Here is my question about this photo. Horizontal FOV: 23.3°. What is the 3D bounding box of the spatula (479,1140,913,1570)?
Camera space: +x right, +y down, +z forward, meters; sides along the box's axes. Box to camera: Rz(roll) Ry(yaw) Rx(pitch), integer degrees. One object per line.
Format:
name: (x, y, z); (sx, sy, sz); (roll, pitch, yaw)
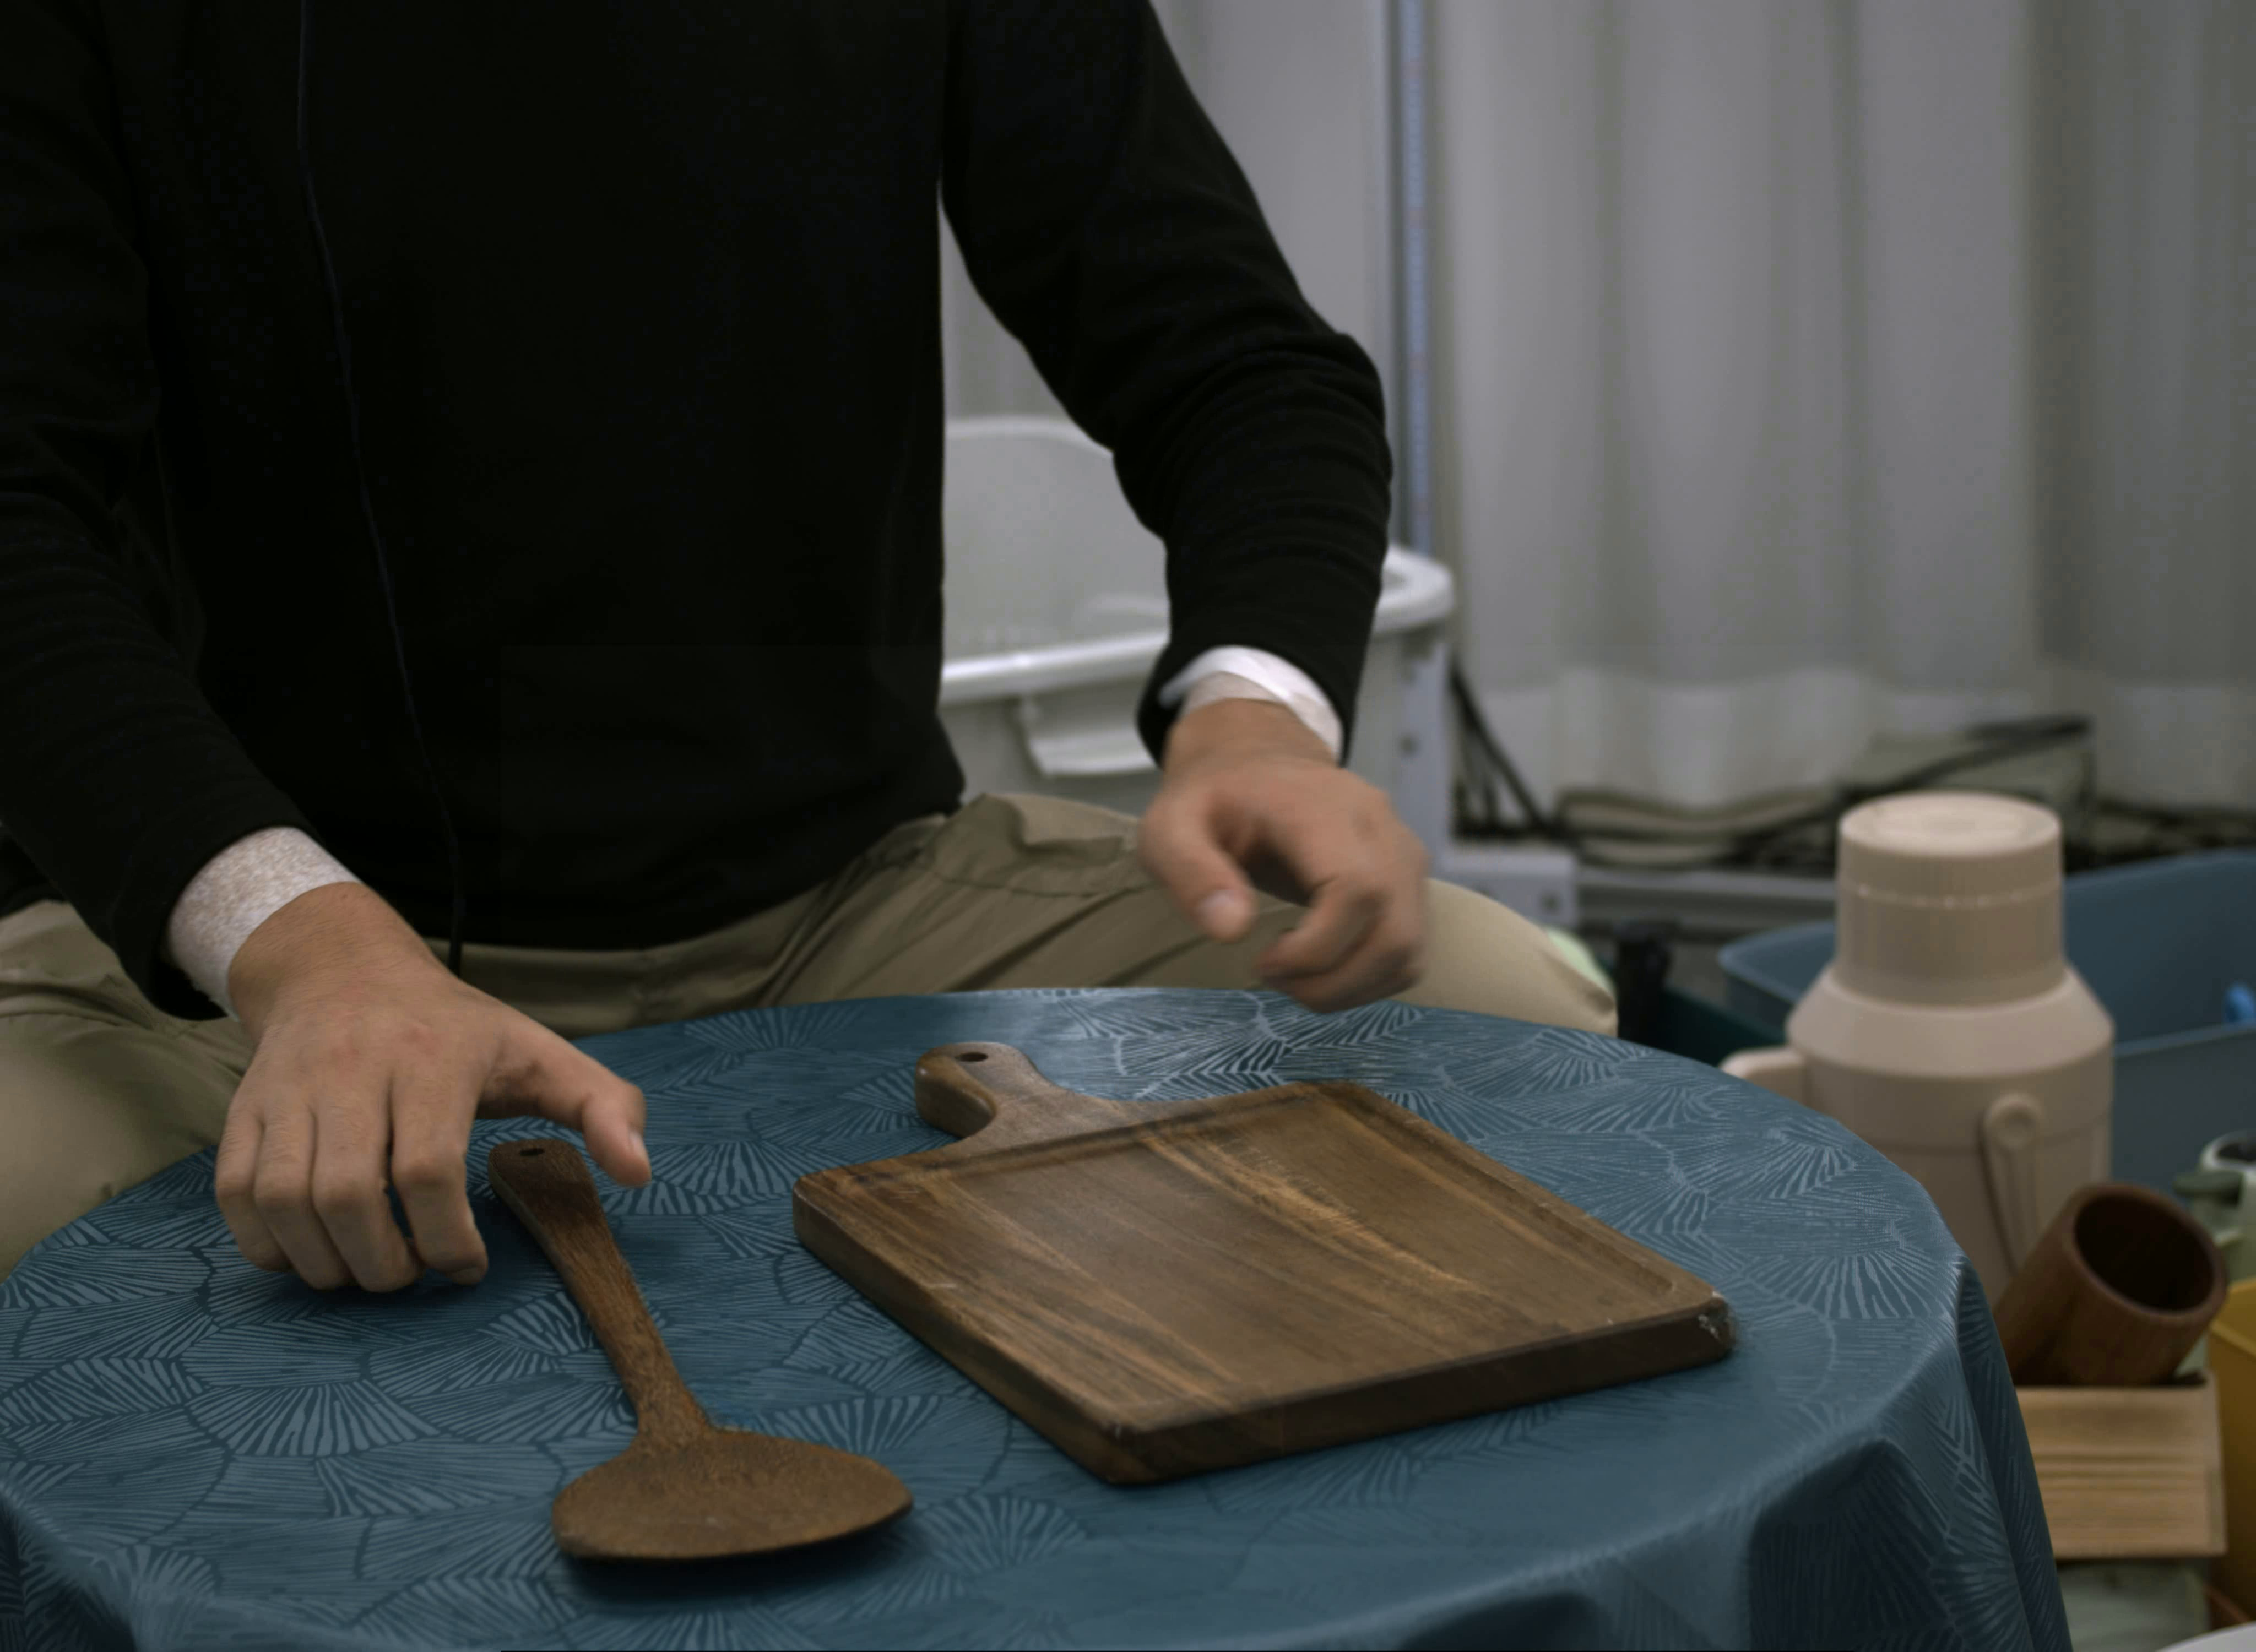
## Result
spatula: (-0.147, 0.147, 1.593); (0.095, 0.016, 0.389); (-6, 15, -14)

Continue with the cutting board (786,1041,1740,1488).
cutting board: (0.014, 0.119, 1.657); (0.200, 0.023, 0.355); (-9, 16, -23)
